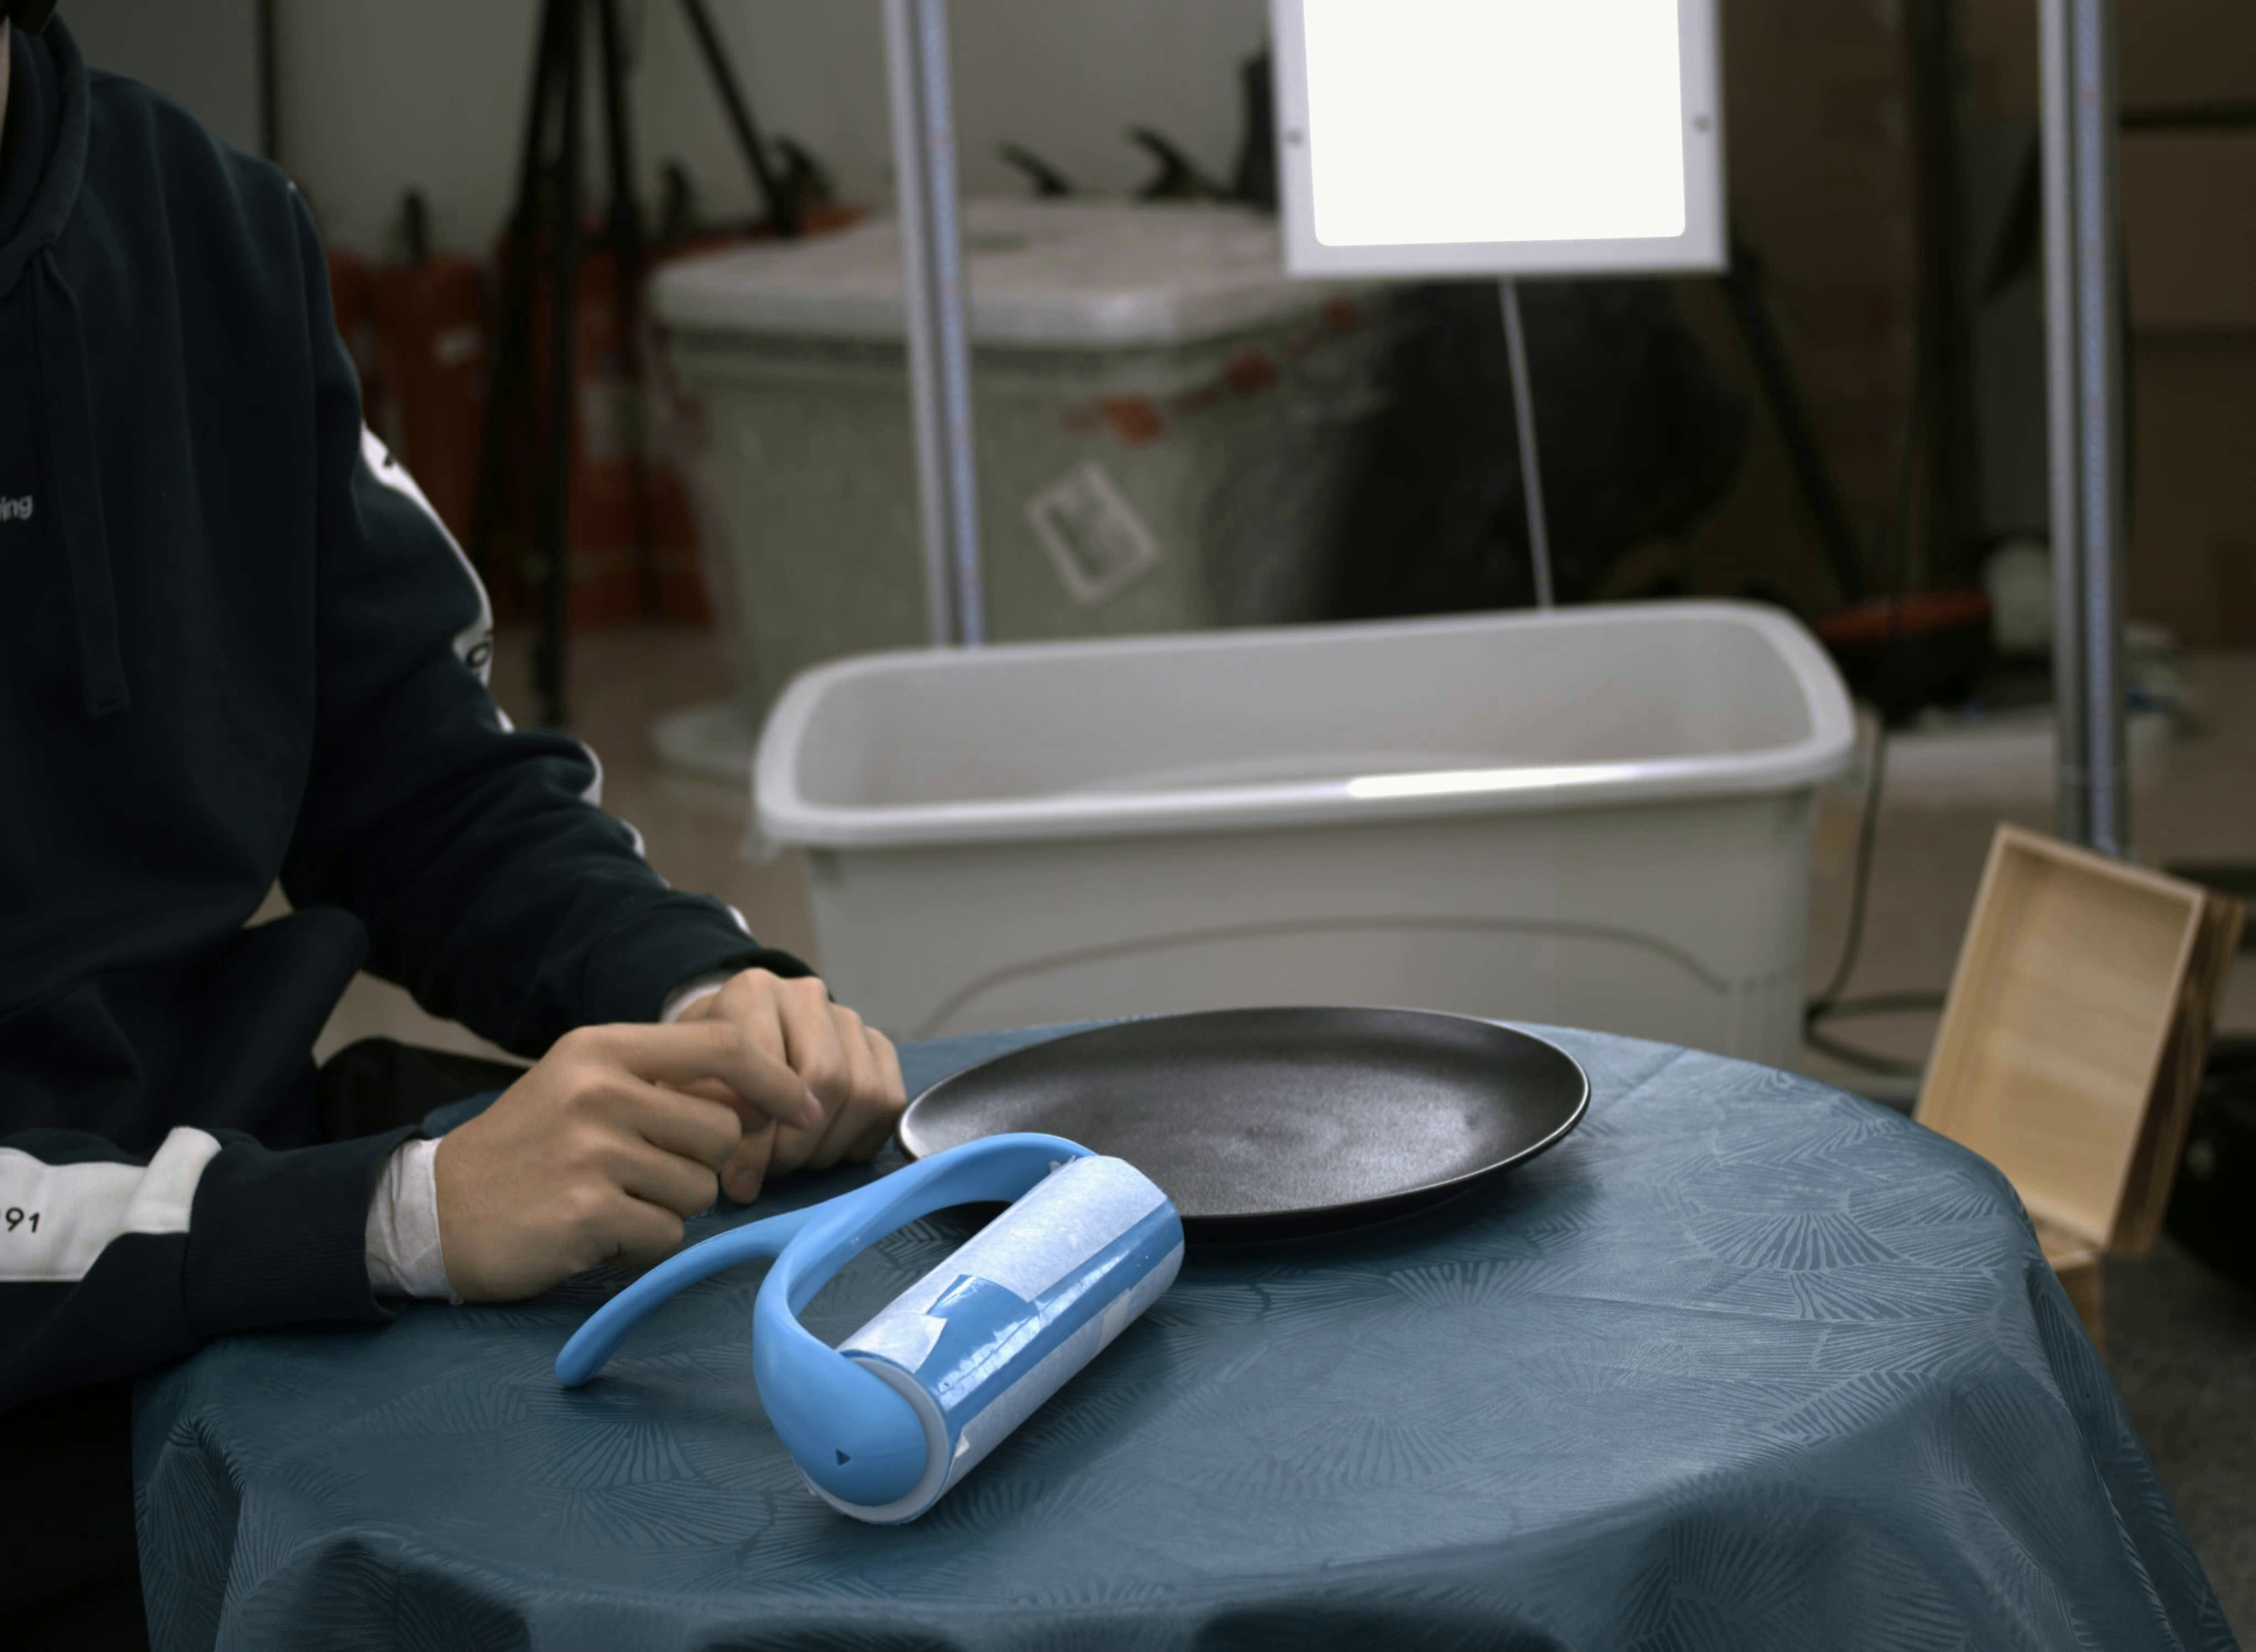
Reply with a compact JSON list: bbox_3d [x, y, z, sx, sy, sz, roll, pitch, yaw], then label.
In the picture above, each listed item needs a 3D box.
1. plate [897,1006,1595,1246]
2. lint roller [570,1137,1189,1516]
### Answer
[{"bbox_3d":[0.041,0.107,1.912,0.244,0.023,0.244,-6,14,0],"label":"plate"},{"bbox_3d":[-0.094,0.153,1.705,0.183,0.068,0.225,-1,15,20],"label":"lint roller"}]
